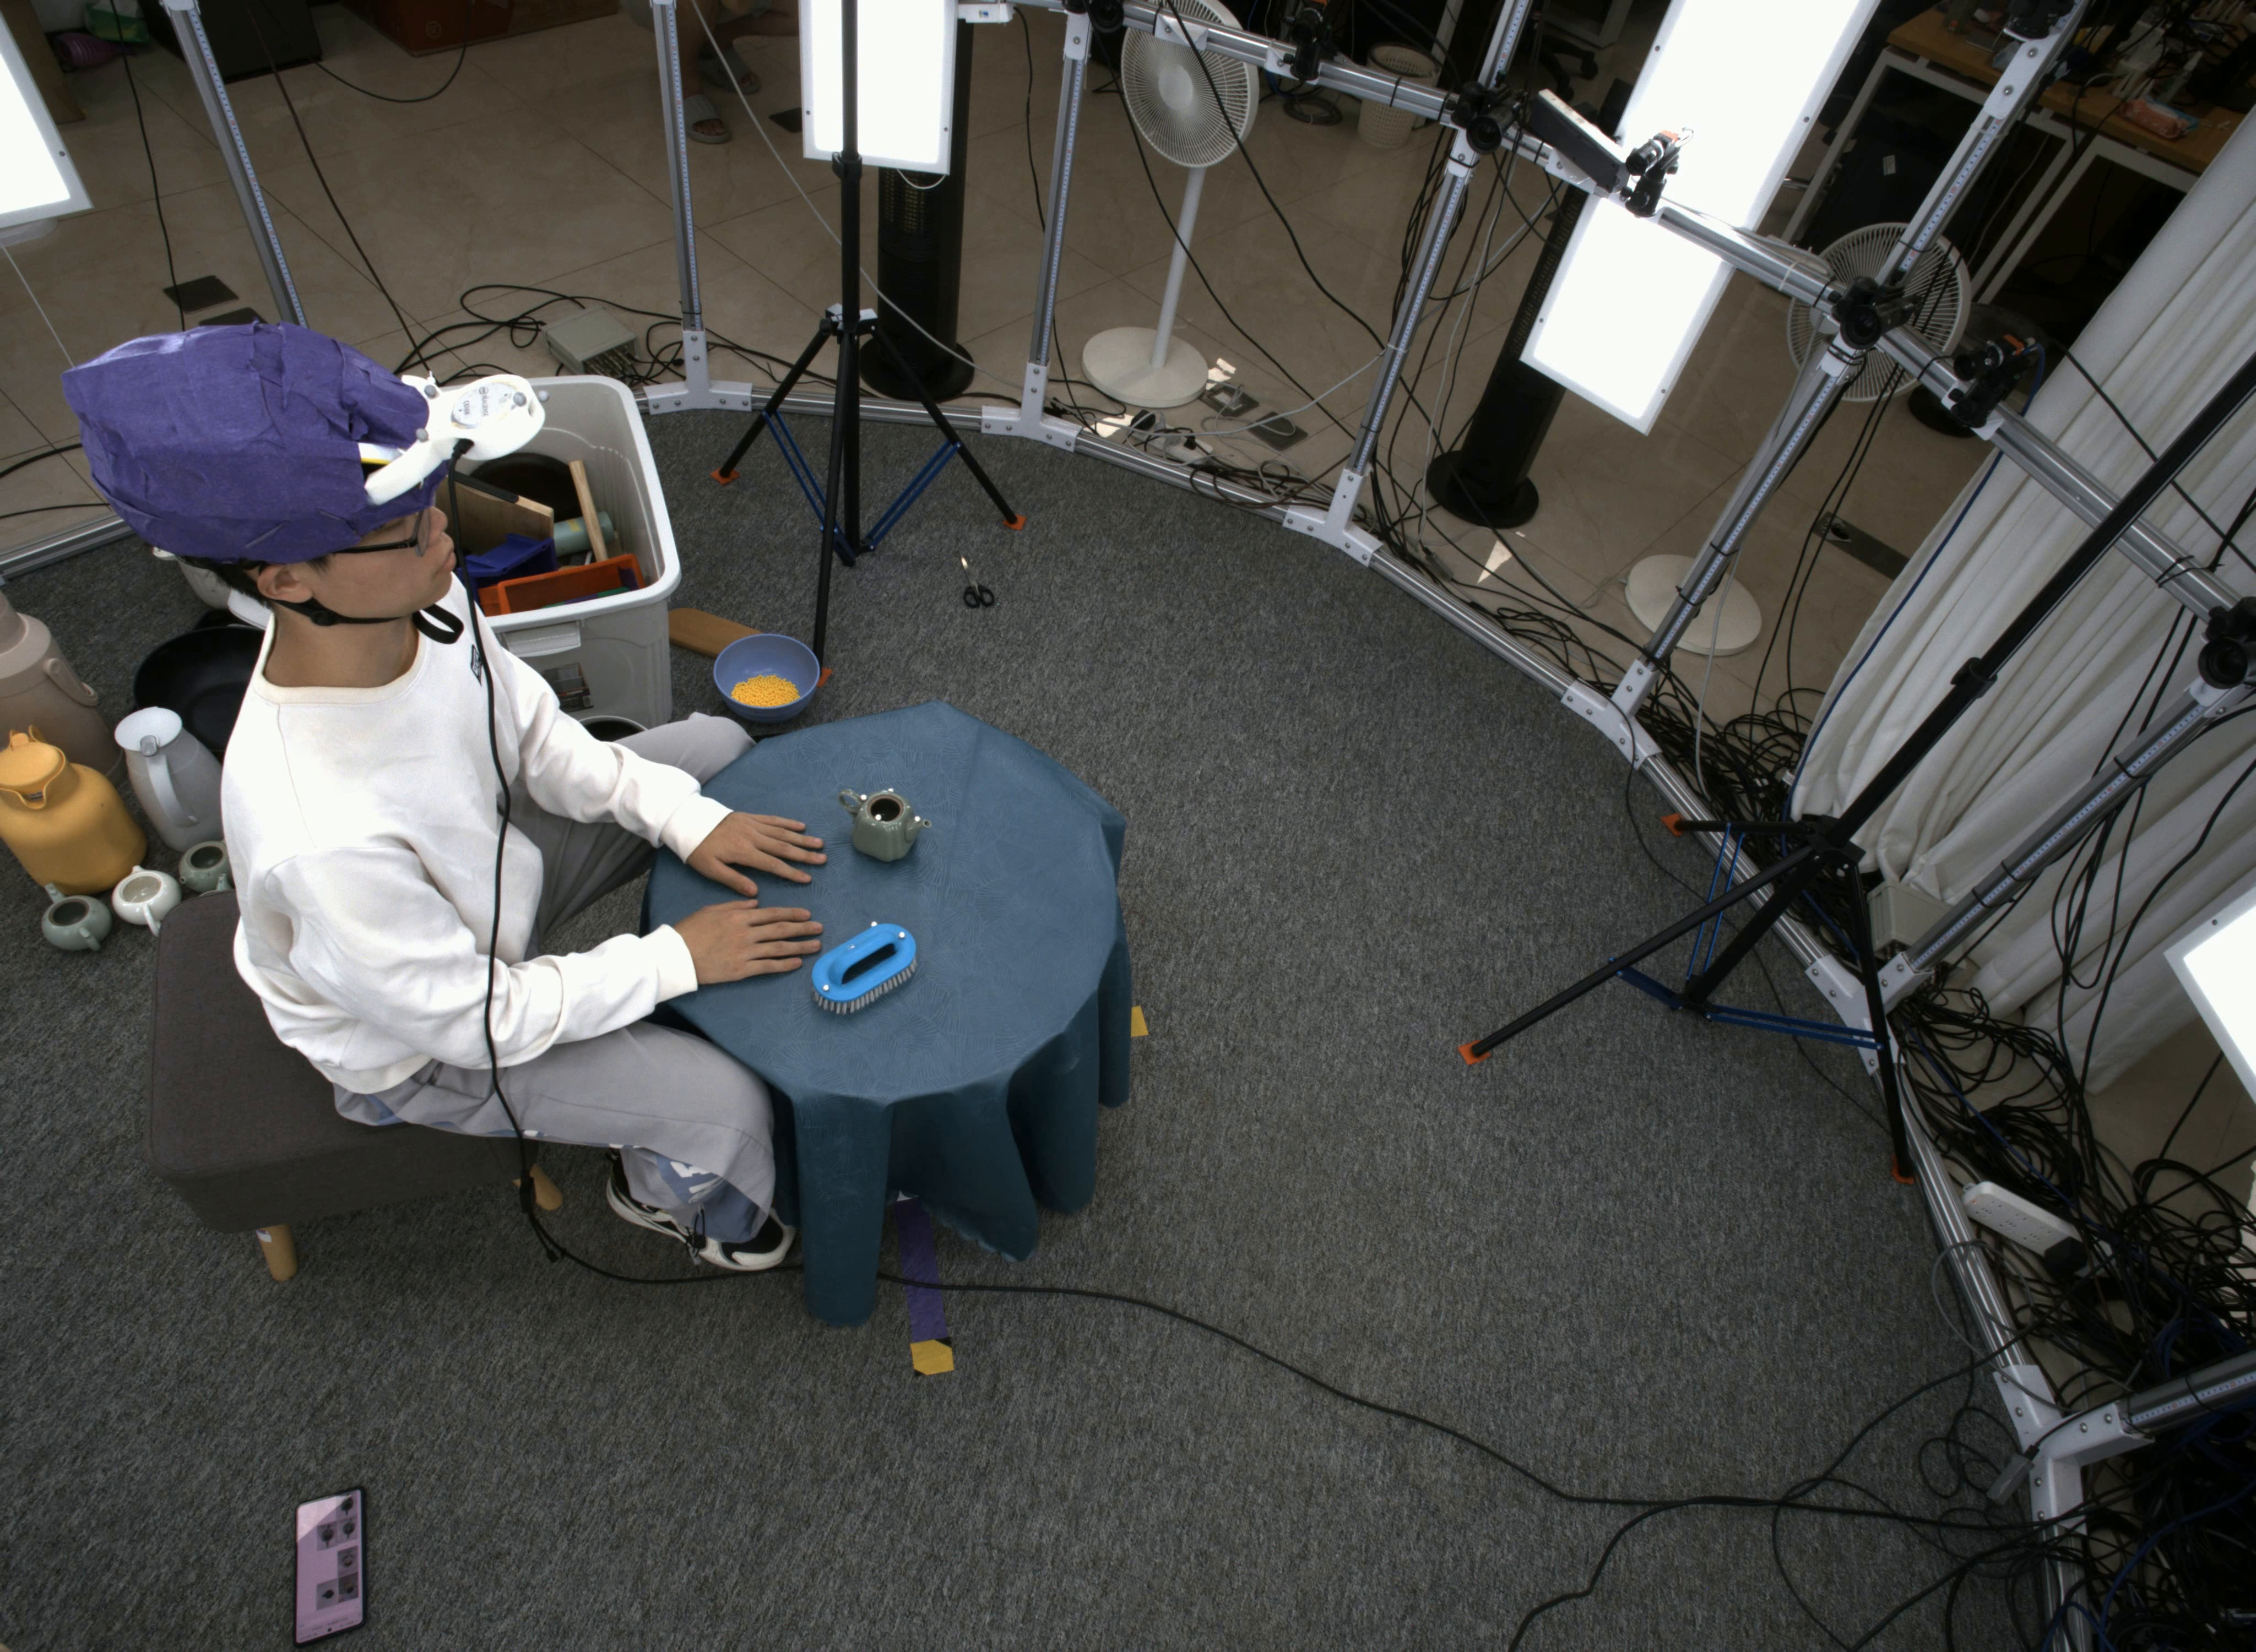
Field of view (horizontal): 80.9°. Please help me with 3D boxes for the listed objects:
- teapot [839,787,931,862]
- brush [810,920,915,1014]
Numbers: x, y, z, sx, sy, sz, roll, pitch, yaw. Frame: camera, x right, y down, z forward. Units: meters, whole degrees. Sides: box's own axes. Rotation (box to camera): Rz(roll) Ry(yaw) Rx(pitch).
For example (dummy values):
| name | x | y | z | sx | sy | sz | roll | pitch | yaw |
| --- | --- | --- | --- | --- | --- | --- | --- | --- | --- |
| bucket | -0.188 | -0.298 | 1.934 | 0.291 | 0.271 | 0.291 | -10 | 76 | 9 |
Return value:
| name | x | y | z | sx | sy | sz | roll | pitch | yaw |
| --- | --- | --- | --- | --- | --- | --- | --- | --- | --- |
| teapot | -0.321 | -0.005 | 1.716 | 0.131 | 0.077 | 0.079 | 21 | 51 | 4 |
| brush | -0.323 | 0.165 | 1.594 | 0.142 | 0.065 | 0.083 | -31 | 69 | -29 |
